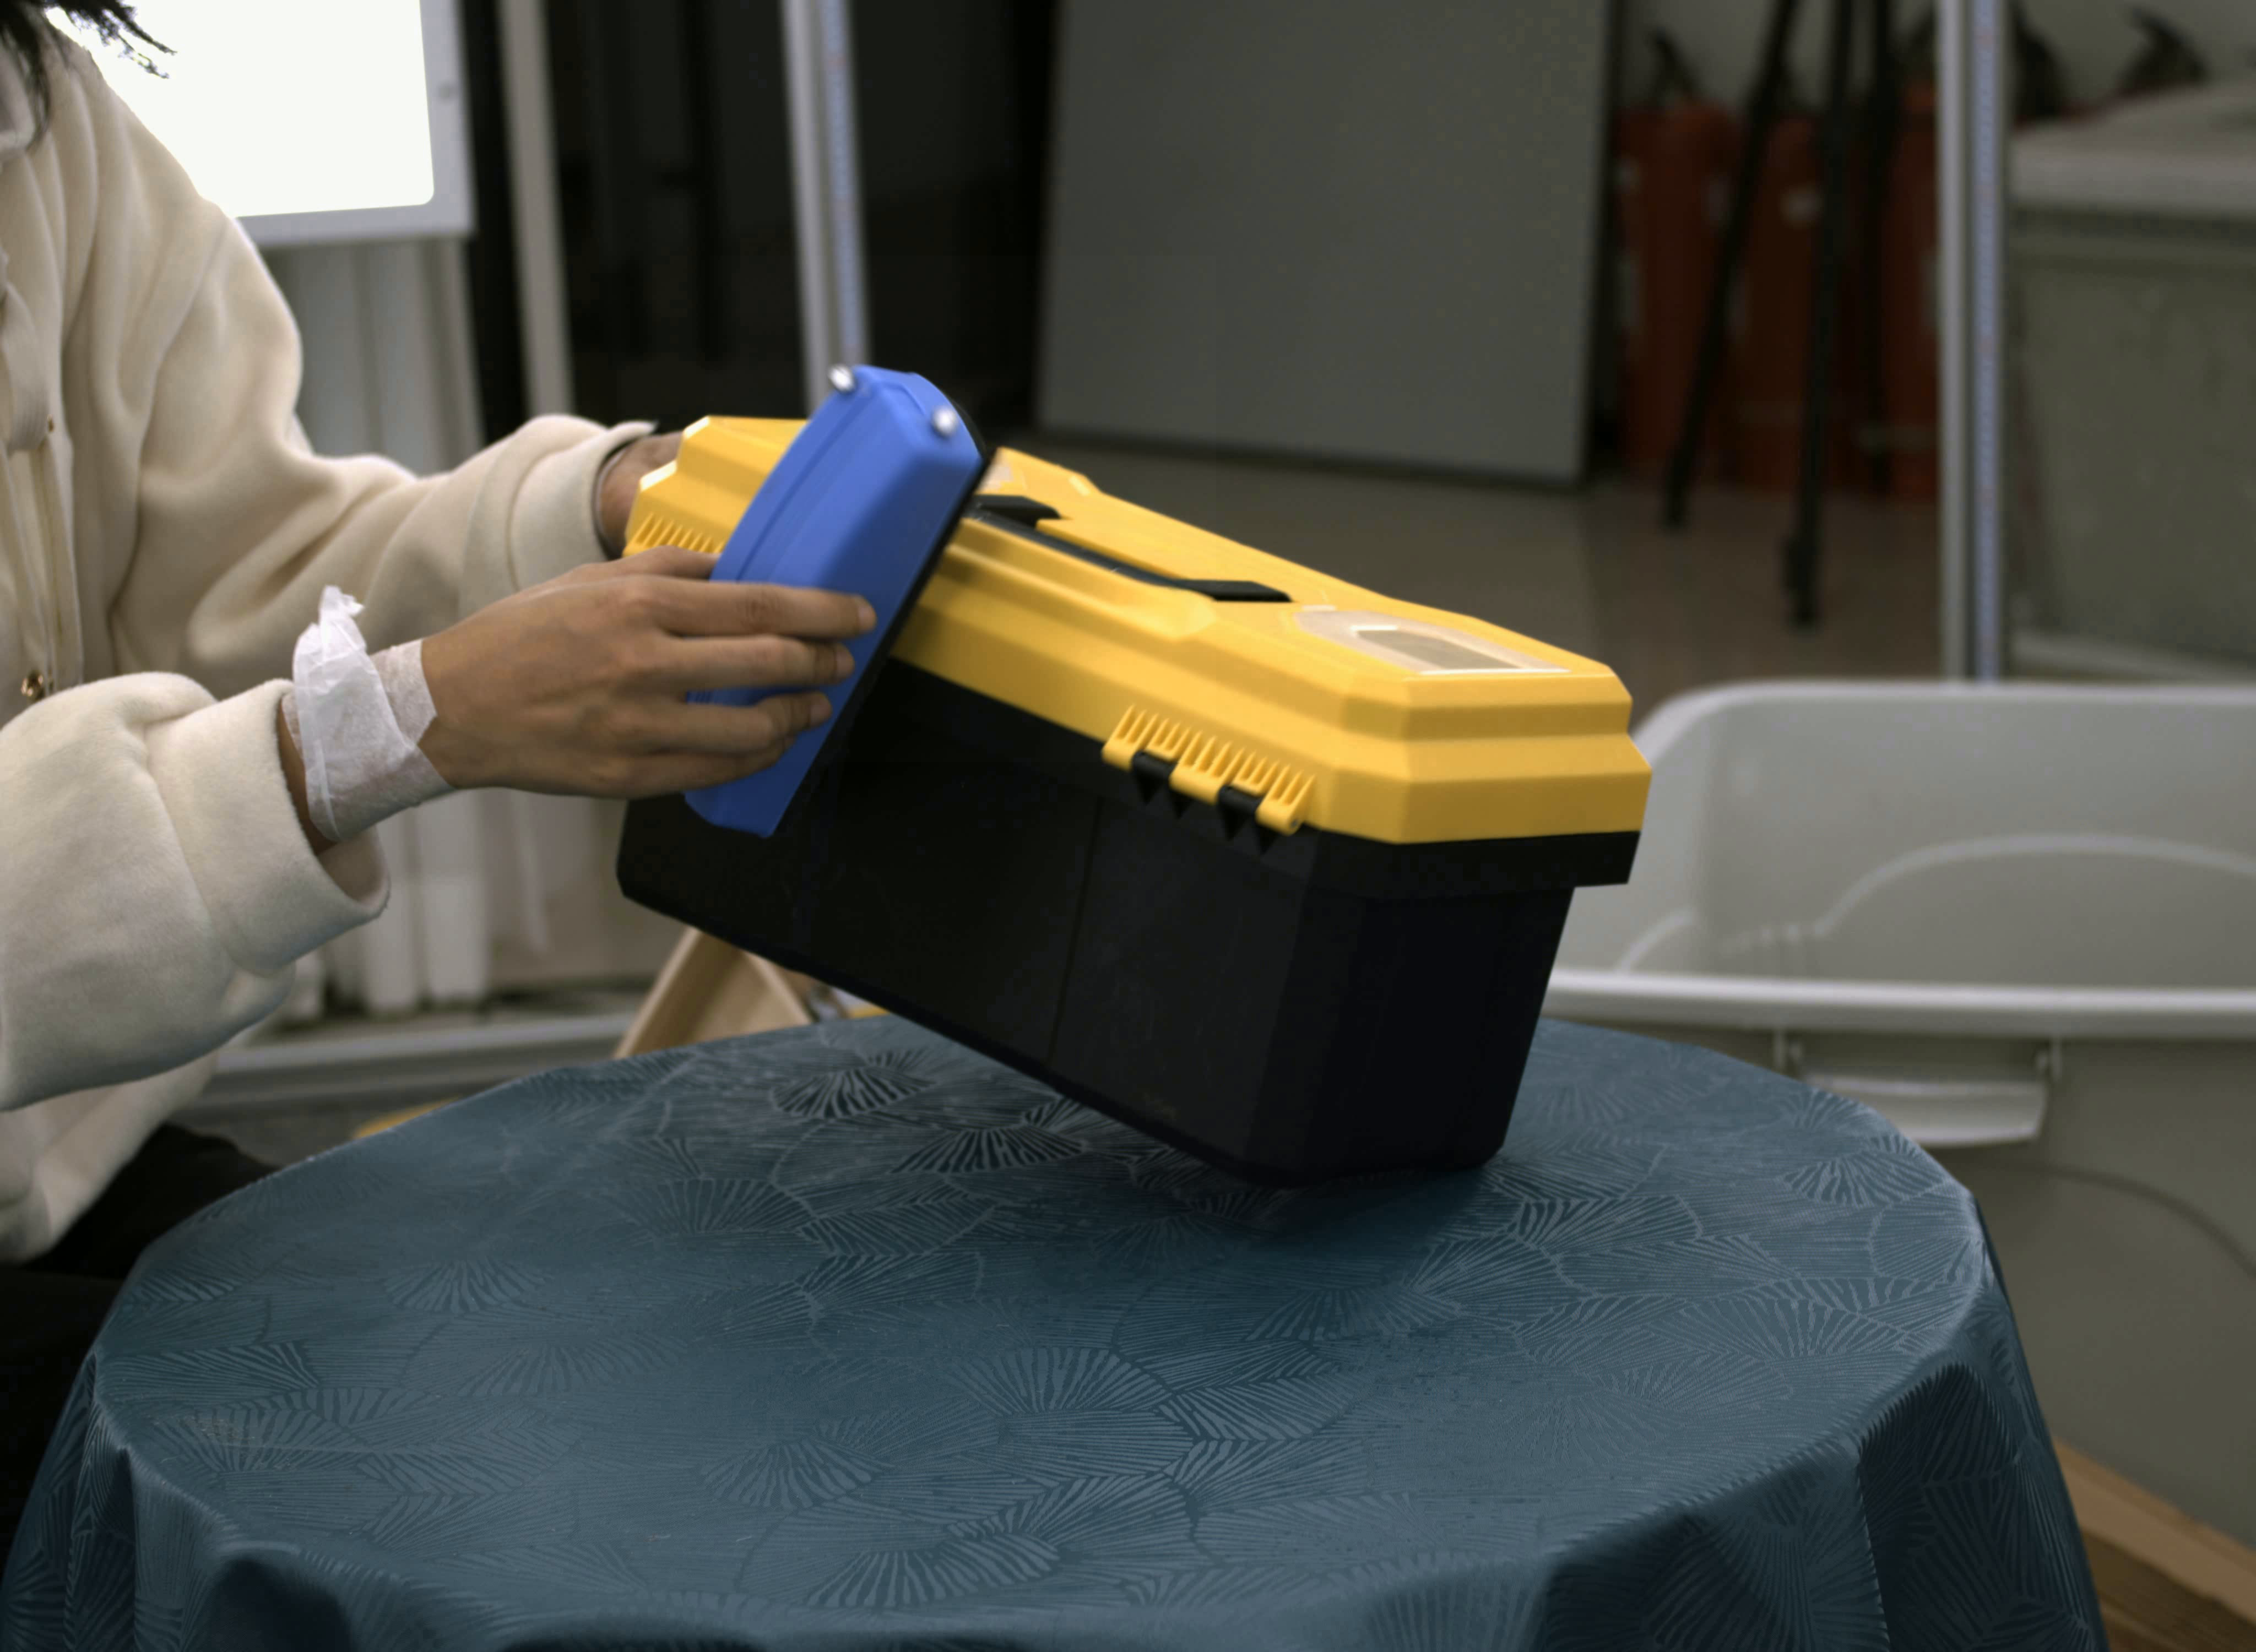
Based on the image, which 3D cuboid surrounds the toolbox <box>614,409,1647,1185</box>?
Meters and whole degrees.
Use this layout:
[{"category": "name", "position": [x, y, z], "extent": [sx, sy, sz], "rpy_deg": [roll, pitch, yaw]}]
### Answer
[{"category": "toolbox", "position": [-0.011, -0.015, 1.812], "extent": [0.354, 0.175, 0.177], "rpy_deg": [22, 15, 39]}]

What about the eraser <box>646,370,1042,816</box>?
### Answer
[{"category": "eraser", "position": [-0.097, -0.075, 1.742], "extent": [0.046, 0.163, 0.054], "rpy_deg": [13, 38, -47]}]
